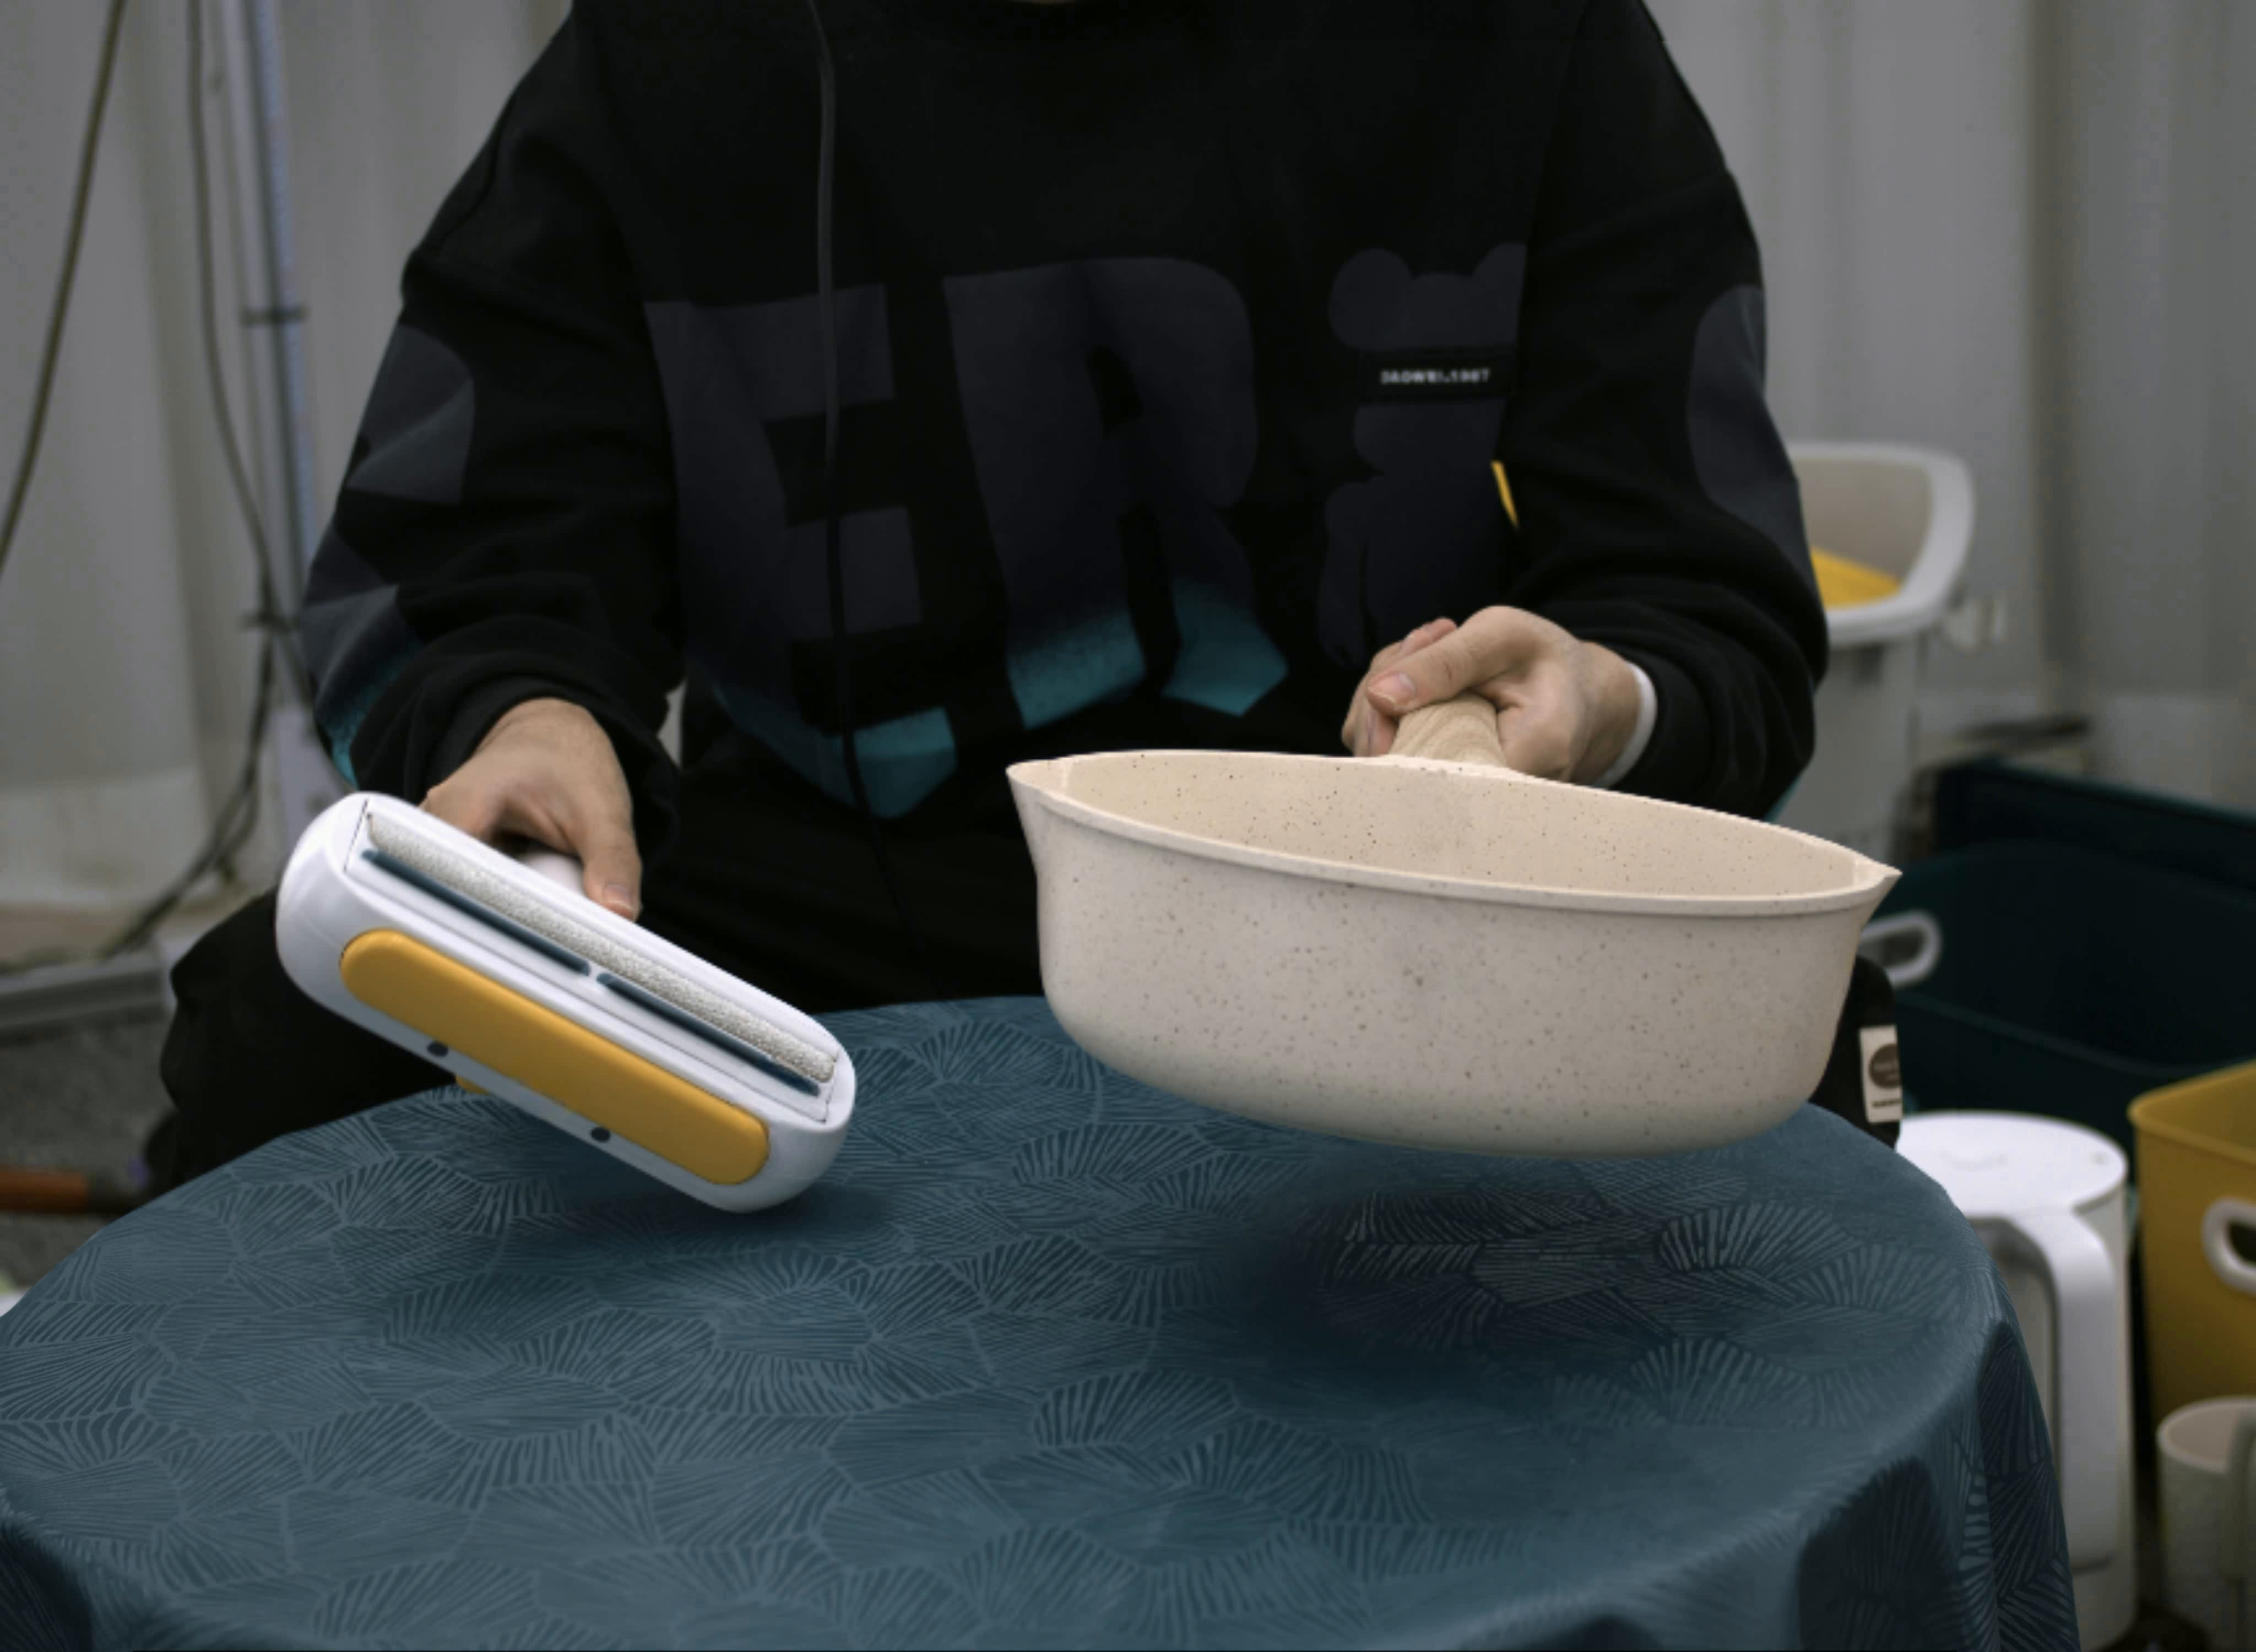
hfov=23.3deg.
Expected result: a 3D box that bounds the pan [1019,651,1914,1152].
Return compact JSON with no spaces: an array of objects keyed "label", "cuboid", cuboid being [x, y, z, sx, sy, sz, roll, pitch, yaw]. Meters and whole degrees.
[{"label":"pan","cuboid":[0.099,0.018,1.691,0.262,0.102,0.436,4,7,1]}]

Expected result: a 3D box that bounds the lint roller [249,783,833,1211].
[{"label":"lint roller","cuboid":[-0.183,0.037,1.749,0.192,0.074,0.194,25,22,-8]}]
